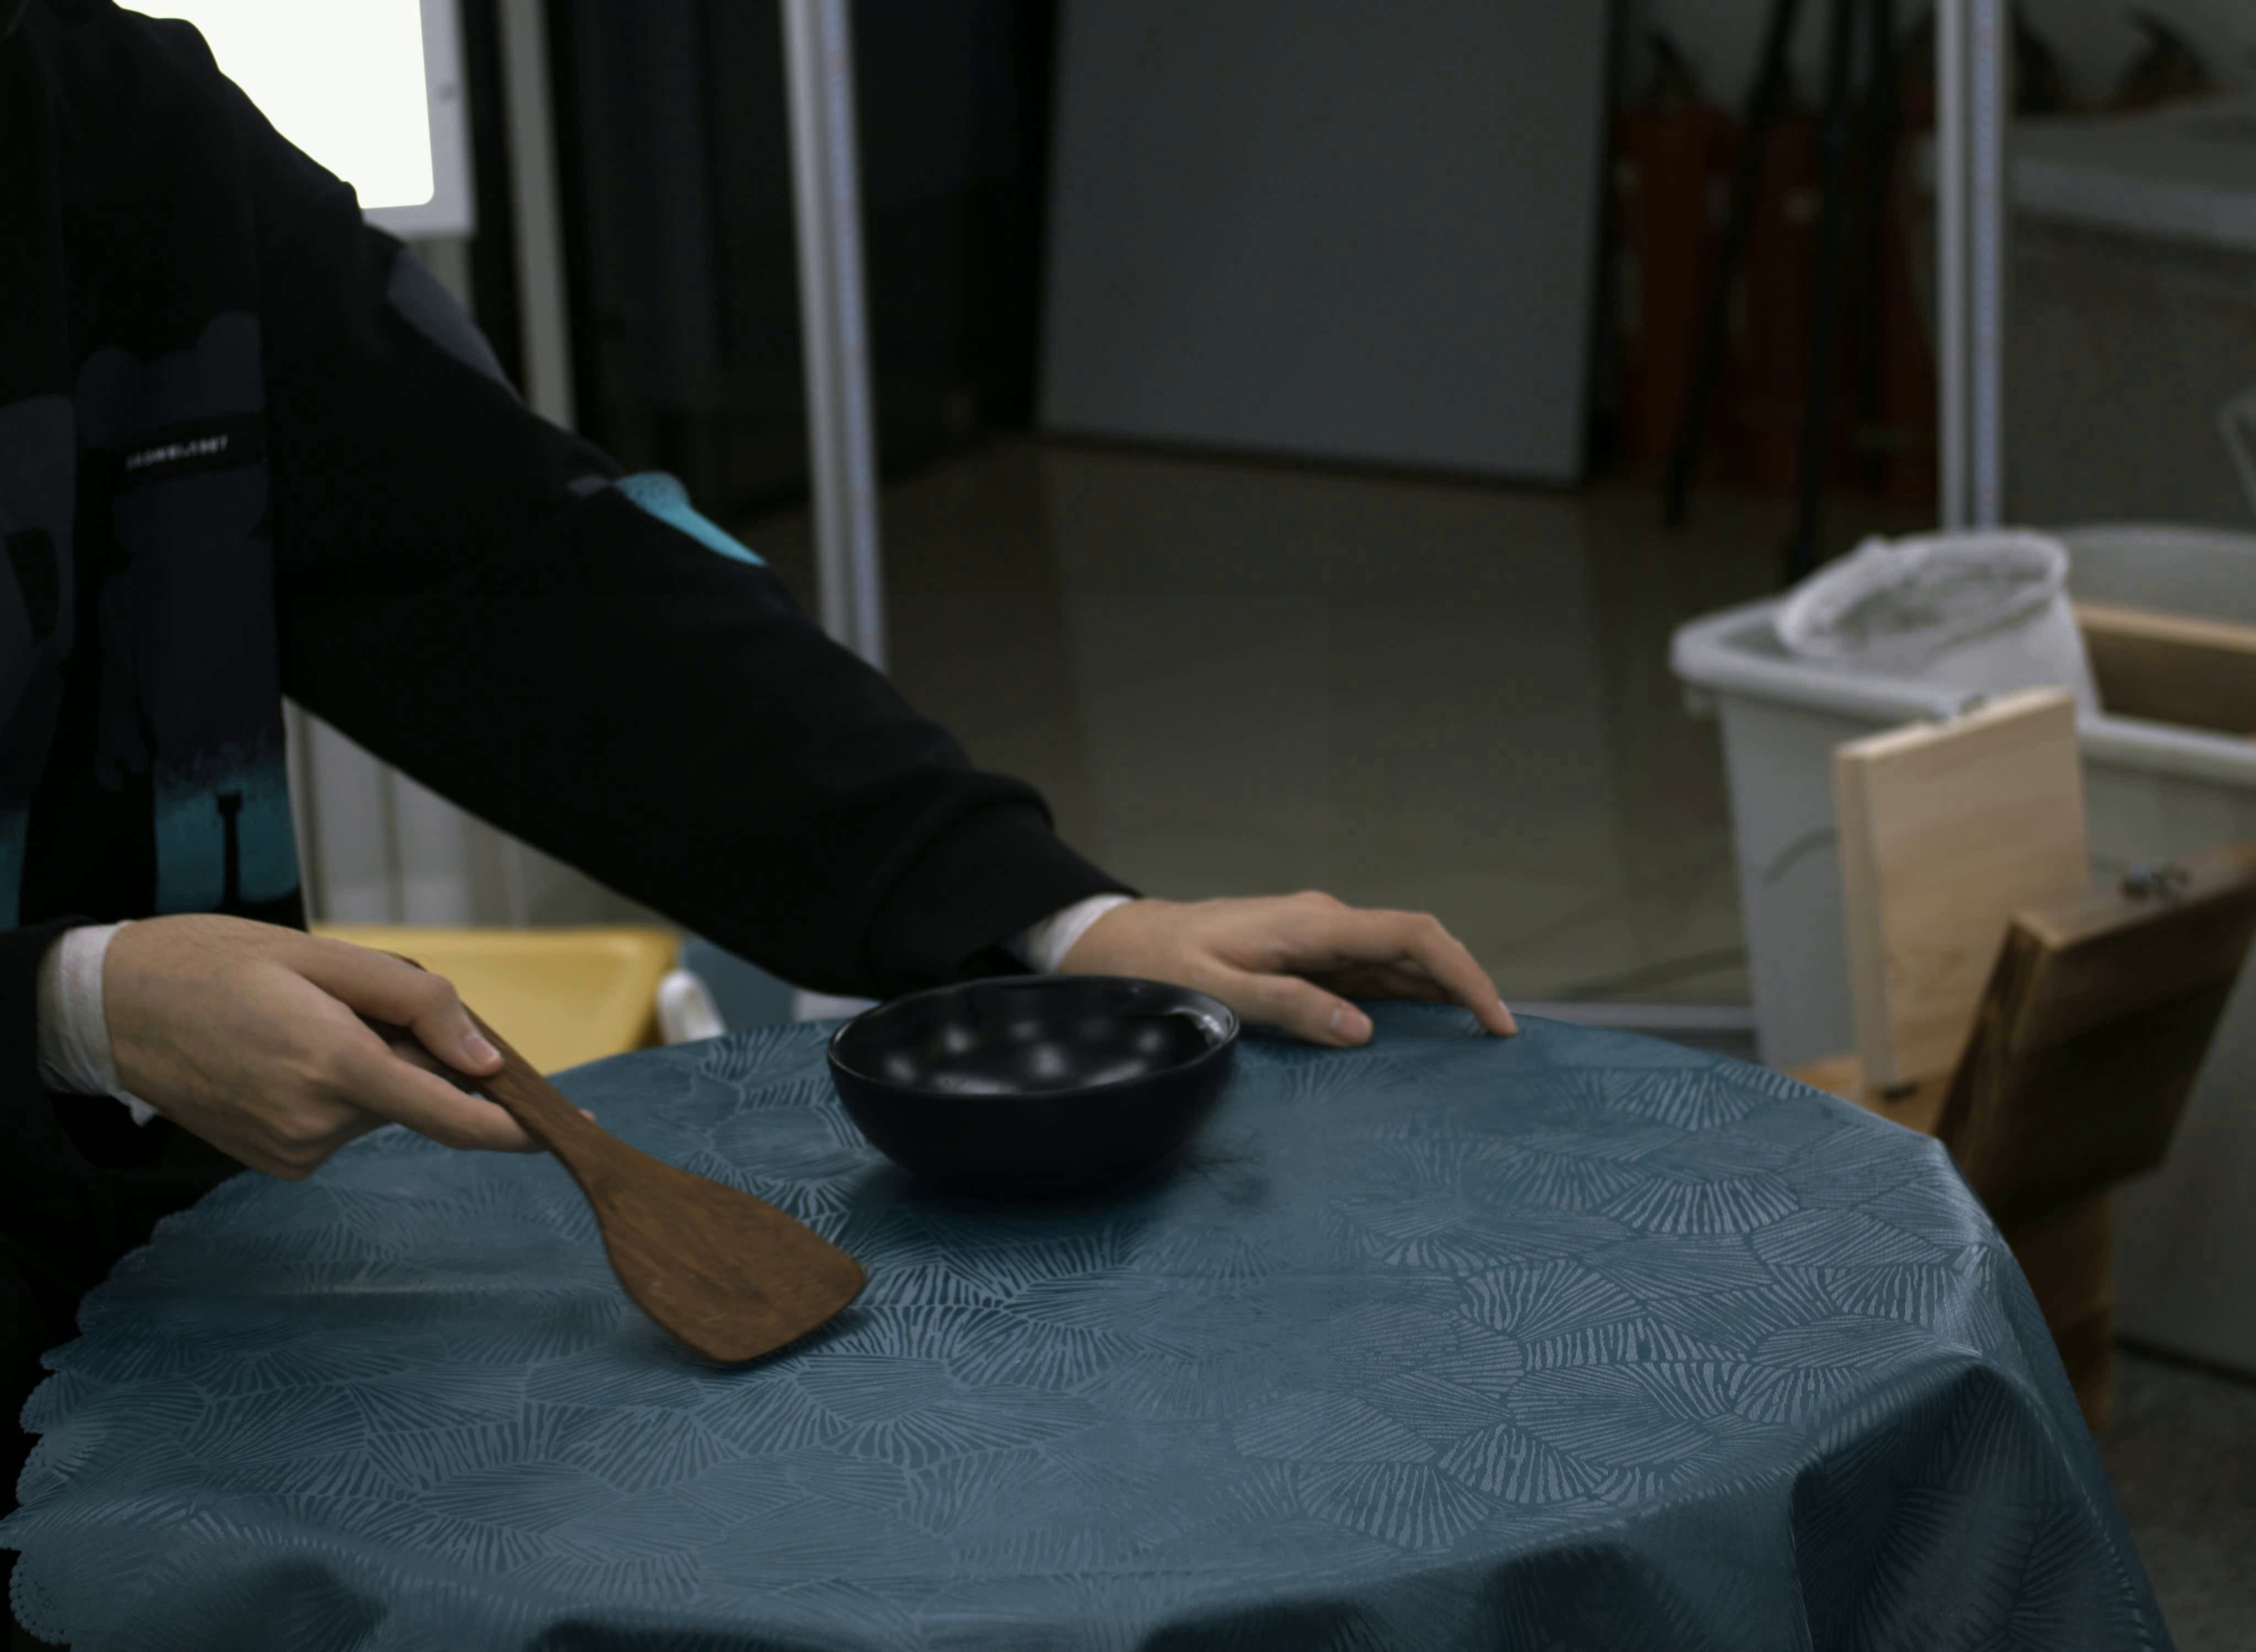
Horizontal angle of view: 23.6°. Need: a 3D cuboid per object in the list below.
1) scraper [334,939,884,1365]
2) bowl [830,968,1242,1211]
[{"bbox_3d":[-0.169,0.098,1.686,0.213,0.011,0.074,37,39,24],"label":"scraper"},{"bbox_3d":[-0.029,0.092,1.794,0.138,0.050,0.140,-6,16,1],"label":"bowl"}]
